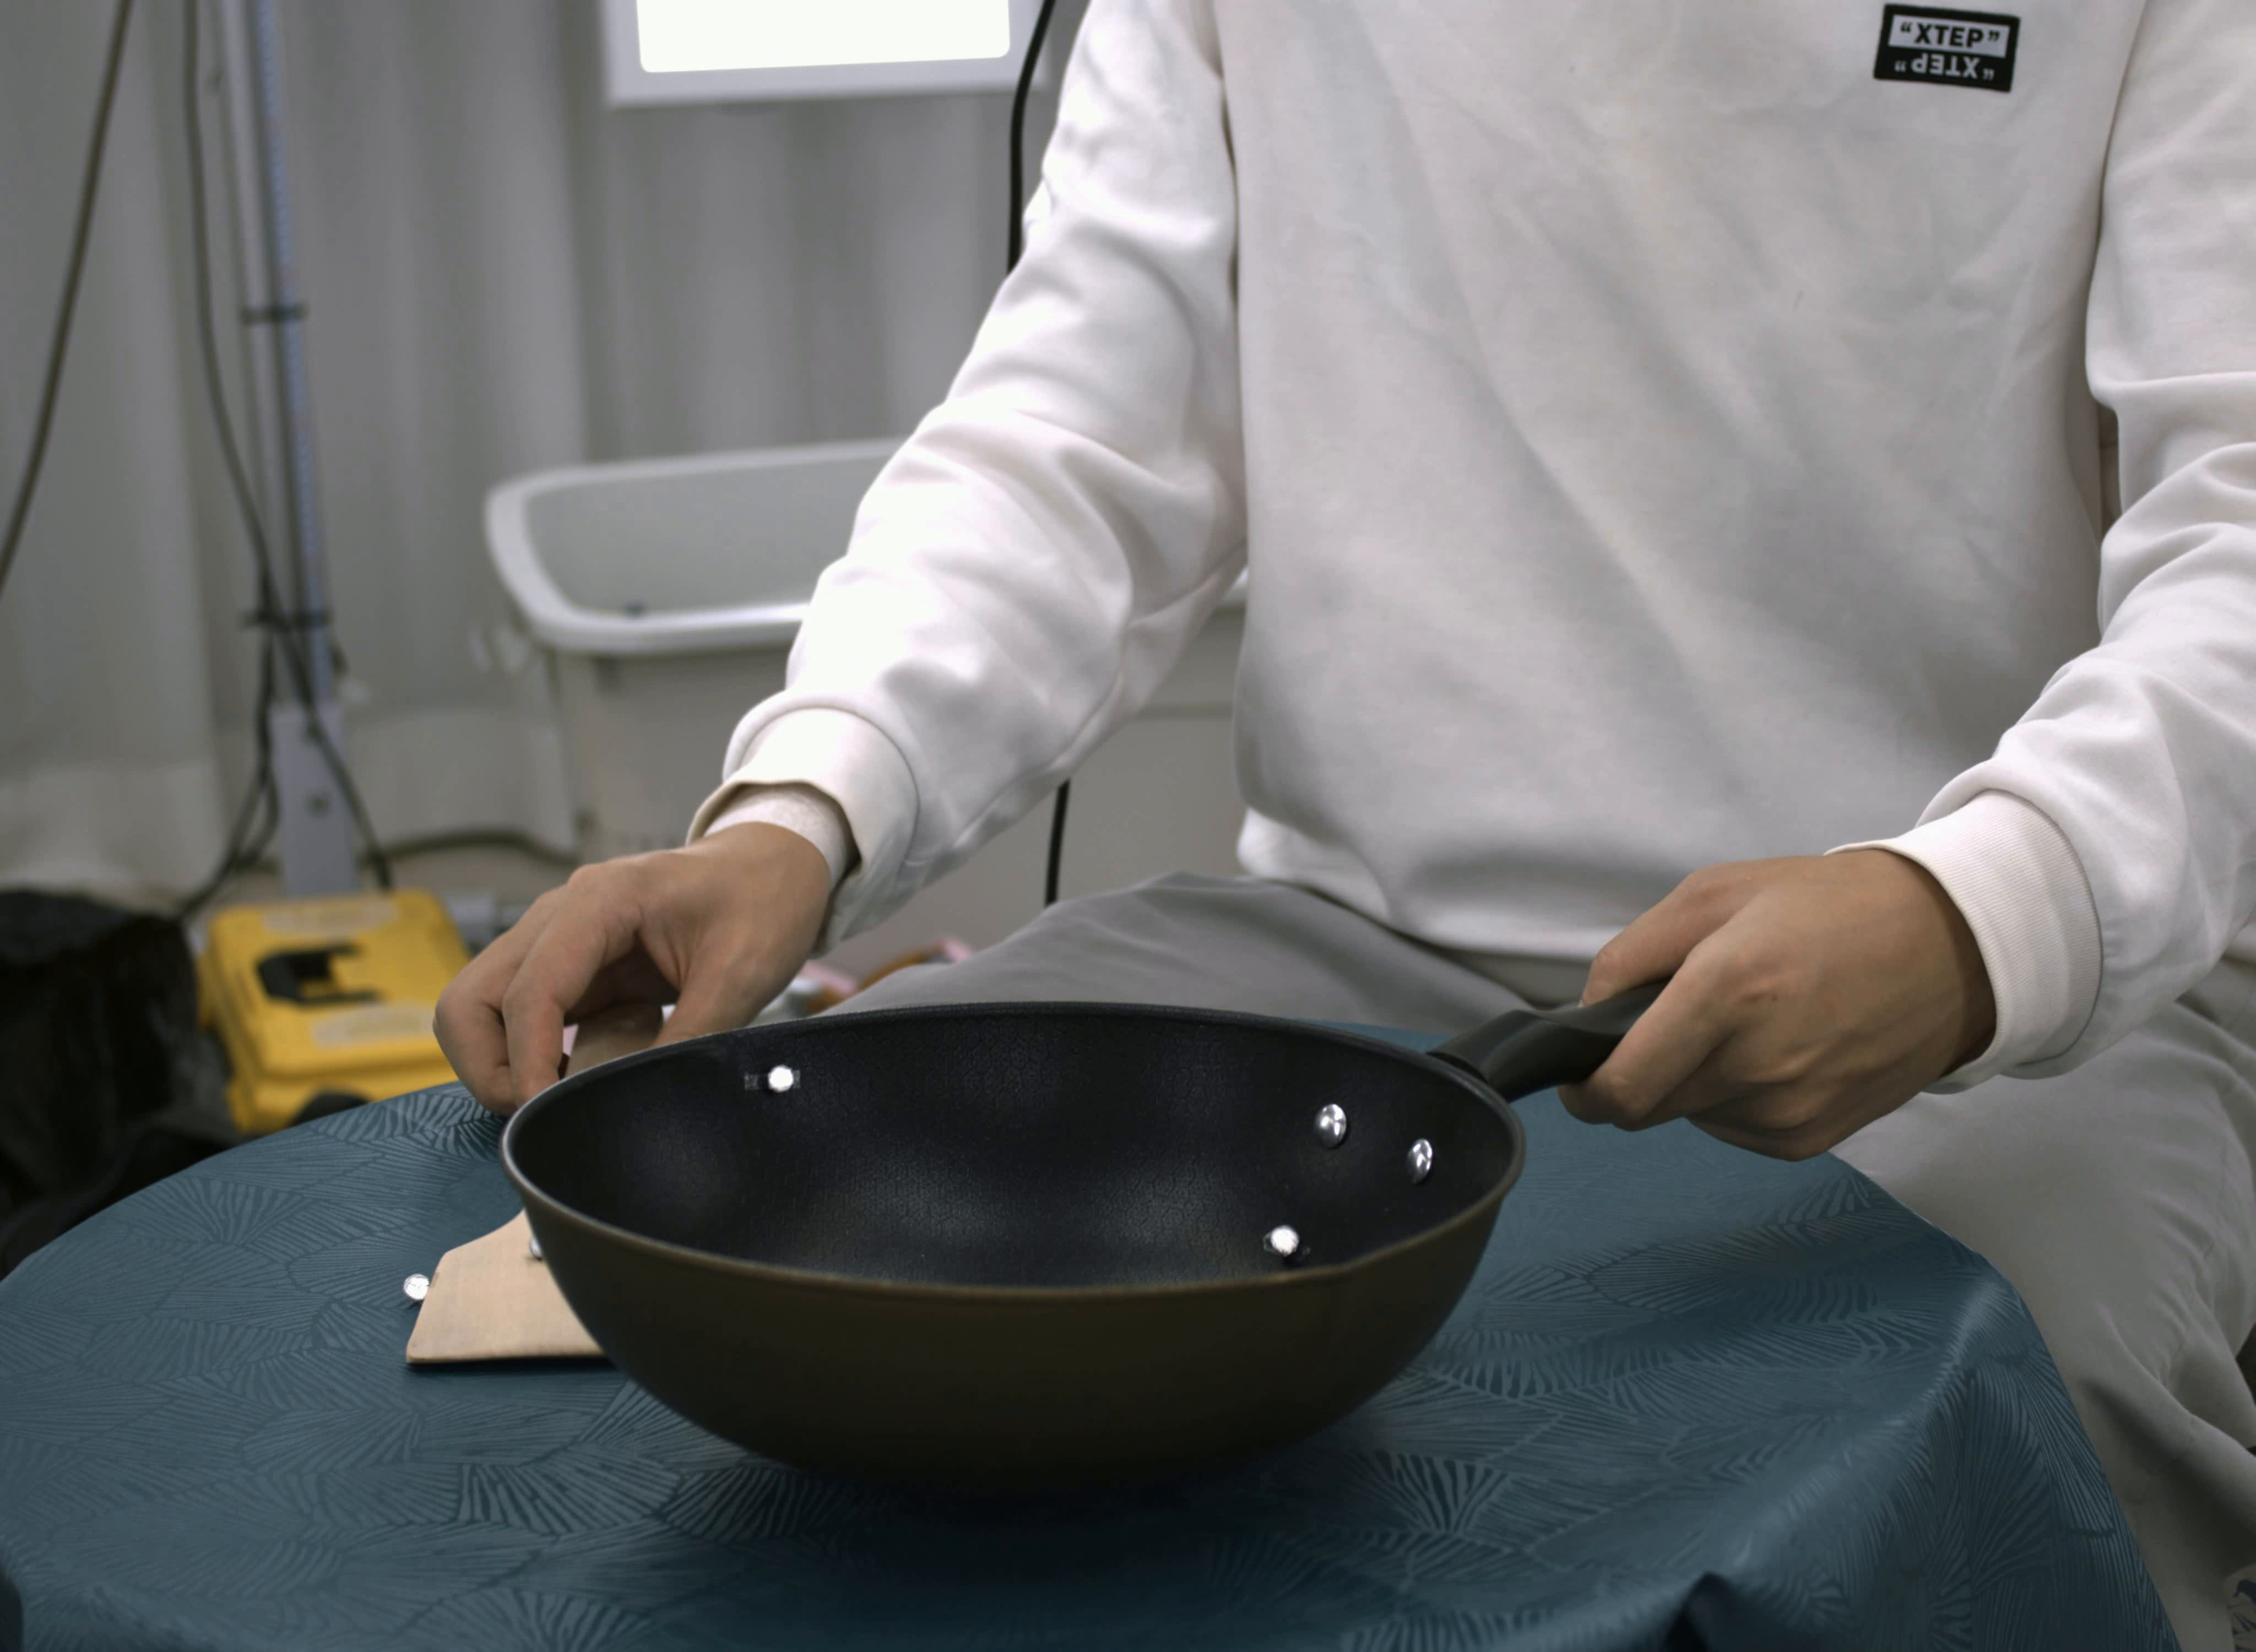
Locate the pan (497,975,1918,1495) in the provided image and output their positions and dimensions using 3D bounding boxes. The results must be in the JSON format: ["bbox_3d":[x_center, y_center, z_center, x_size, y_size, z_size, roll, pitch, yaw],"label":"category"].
[{"bbox_3d":[0.042,0.108,1.545,0.461,0.086,0.290,-8,15,-35],"label":"pan"}]

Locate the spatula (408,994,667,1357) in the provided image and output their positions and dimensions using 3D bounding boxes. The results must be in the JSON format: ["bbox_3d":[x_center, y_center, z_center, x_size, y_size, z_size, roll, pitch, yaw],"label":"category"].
[{"bbox_3d":[-0.174,0.107,1.727,0.072,0.010,0.295,-5,18,3],"label":"spatula"}]
